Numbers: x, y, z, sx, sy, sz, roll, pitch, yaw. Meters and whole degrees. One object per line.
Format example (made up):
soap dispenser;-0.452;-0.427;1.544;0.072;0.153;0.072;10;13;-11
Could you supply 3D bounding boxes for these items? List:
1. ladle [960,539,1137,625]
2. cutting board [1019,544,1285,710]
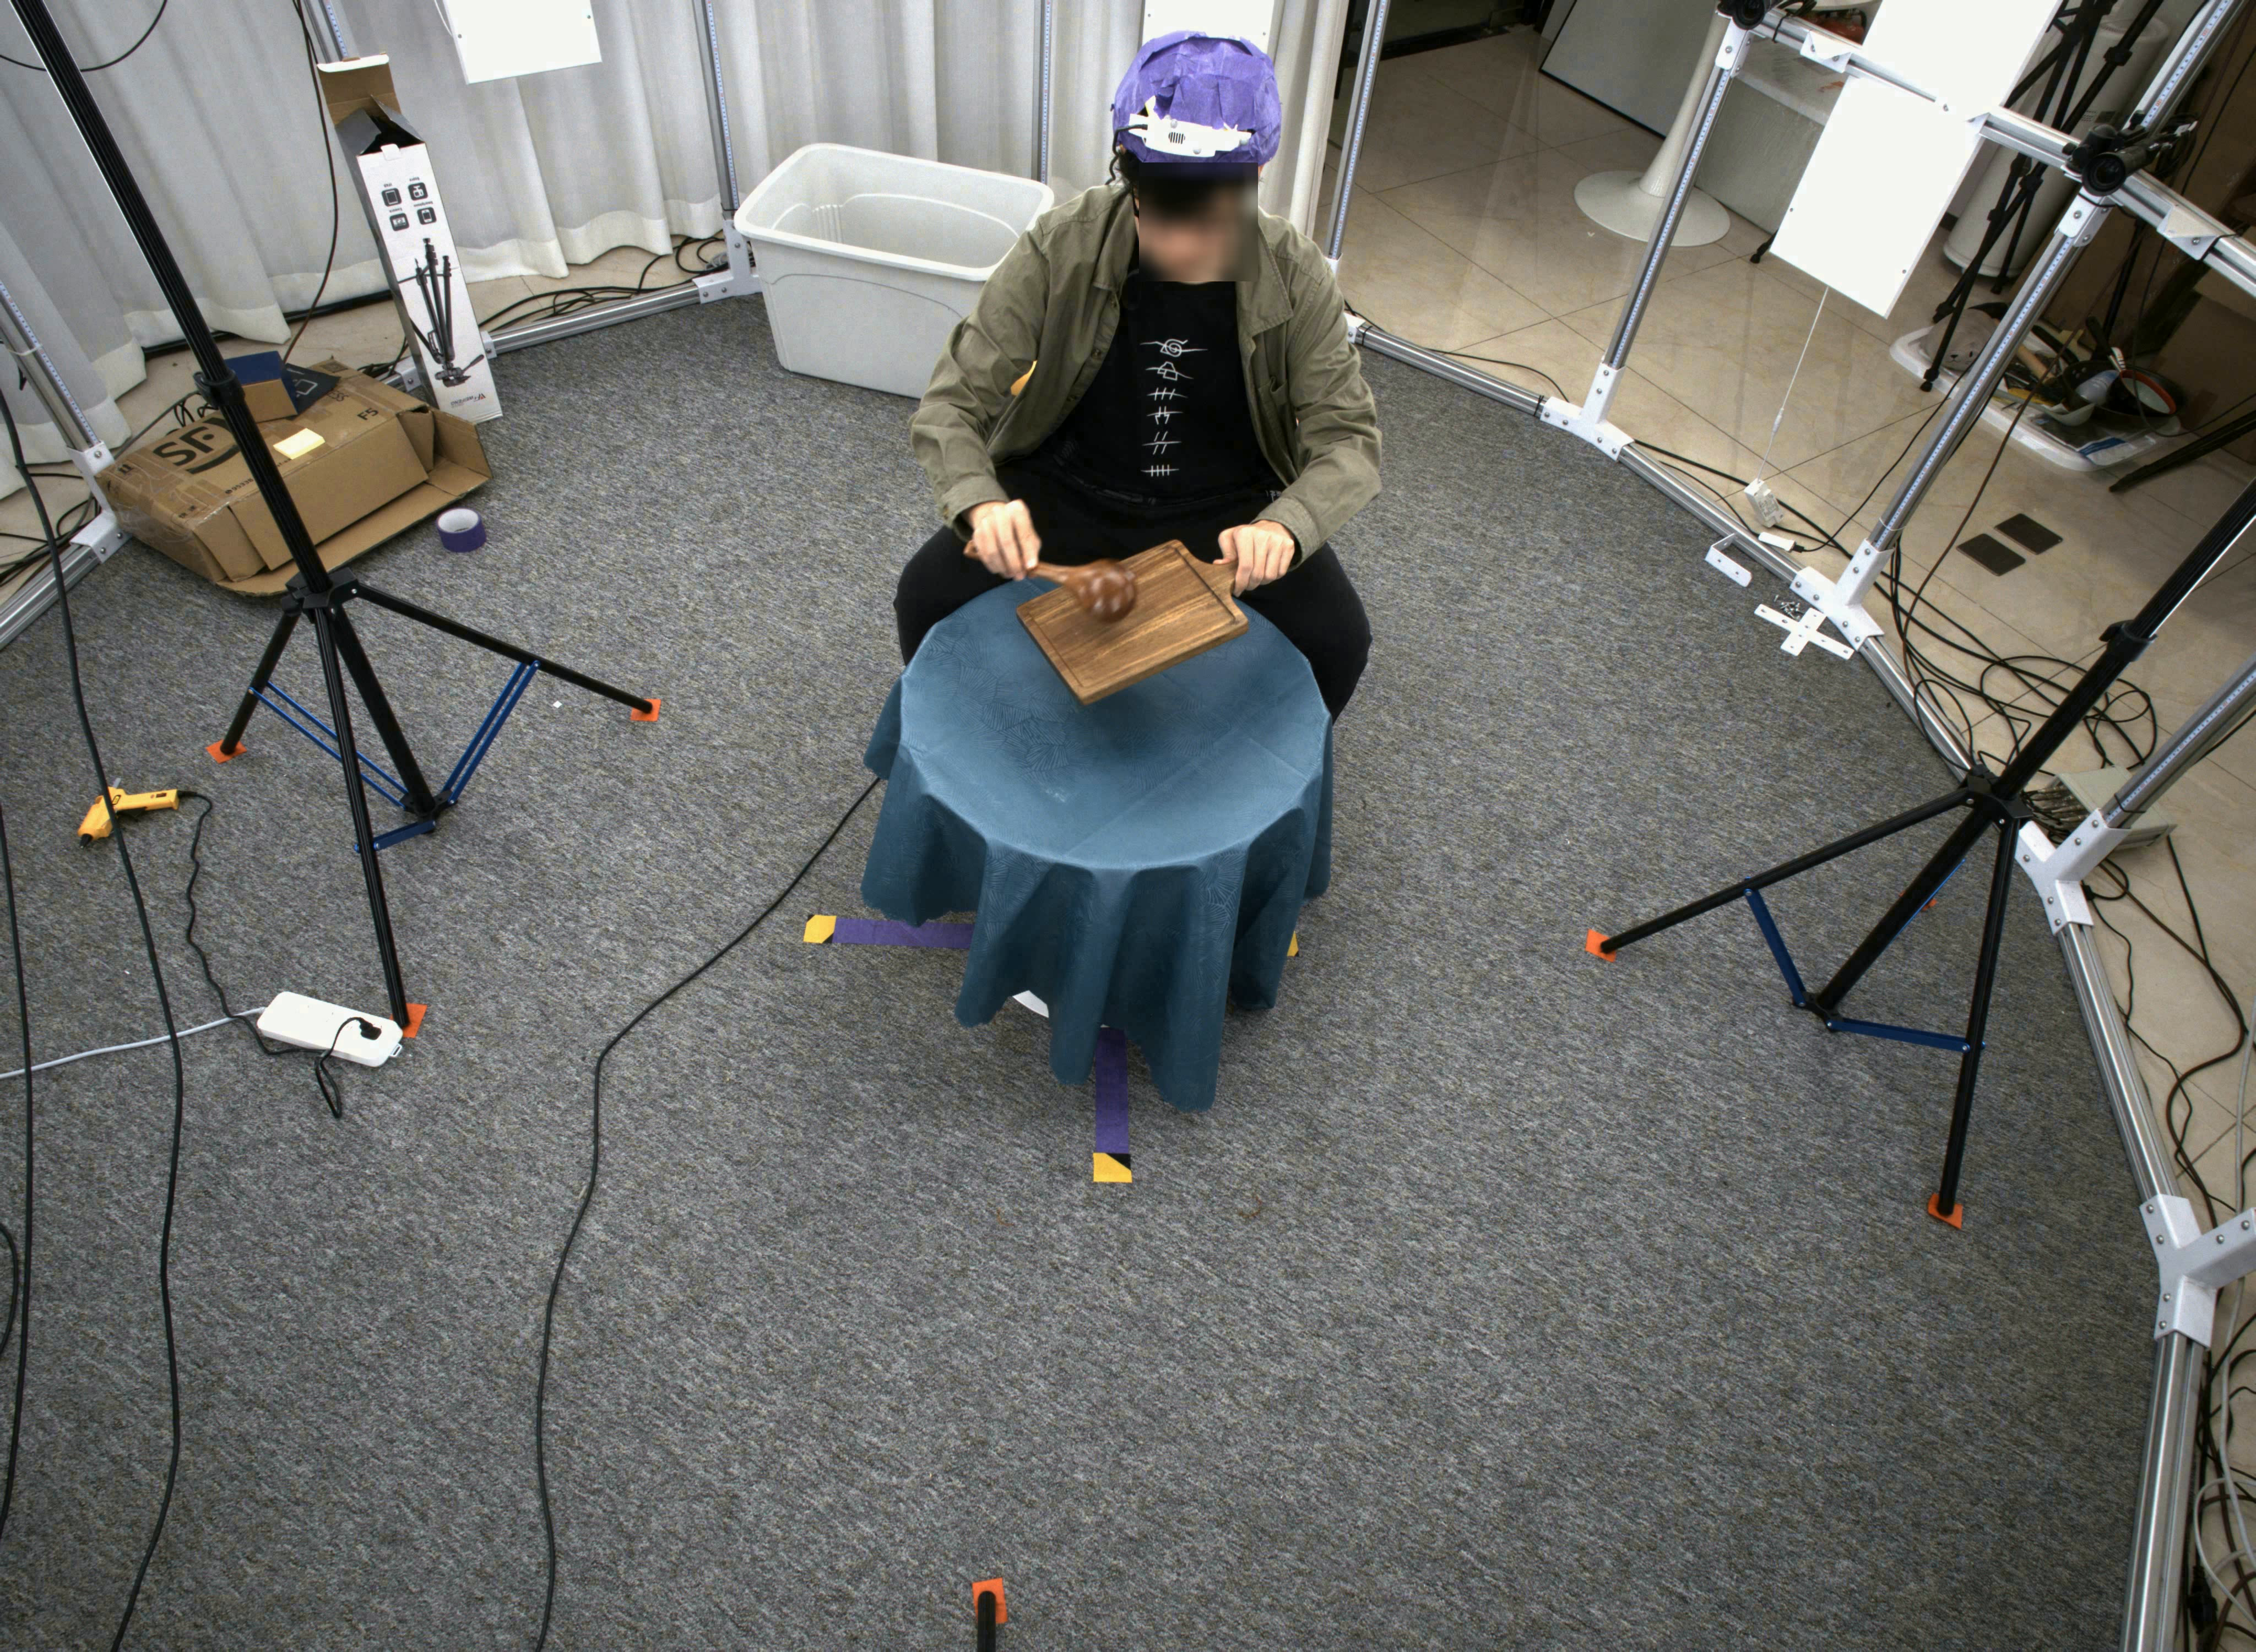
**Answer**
ladle;-0.104;-0.329;1.682;0.278;0.075;0.082;24;86;39
cutting board;0.053;-0.284;1.682;0.353;0.022;0.205;-24;53;-13
